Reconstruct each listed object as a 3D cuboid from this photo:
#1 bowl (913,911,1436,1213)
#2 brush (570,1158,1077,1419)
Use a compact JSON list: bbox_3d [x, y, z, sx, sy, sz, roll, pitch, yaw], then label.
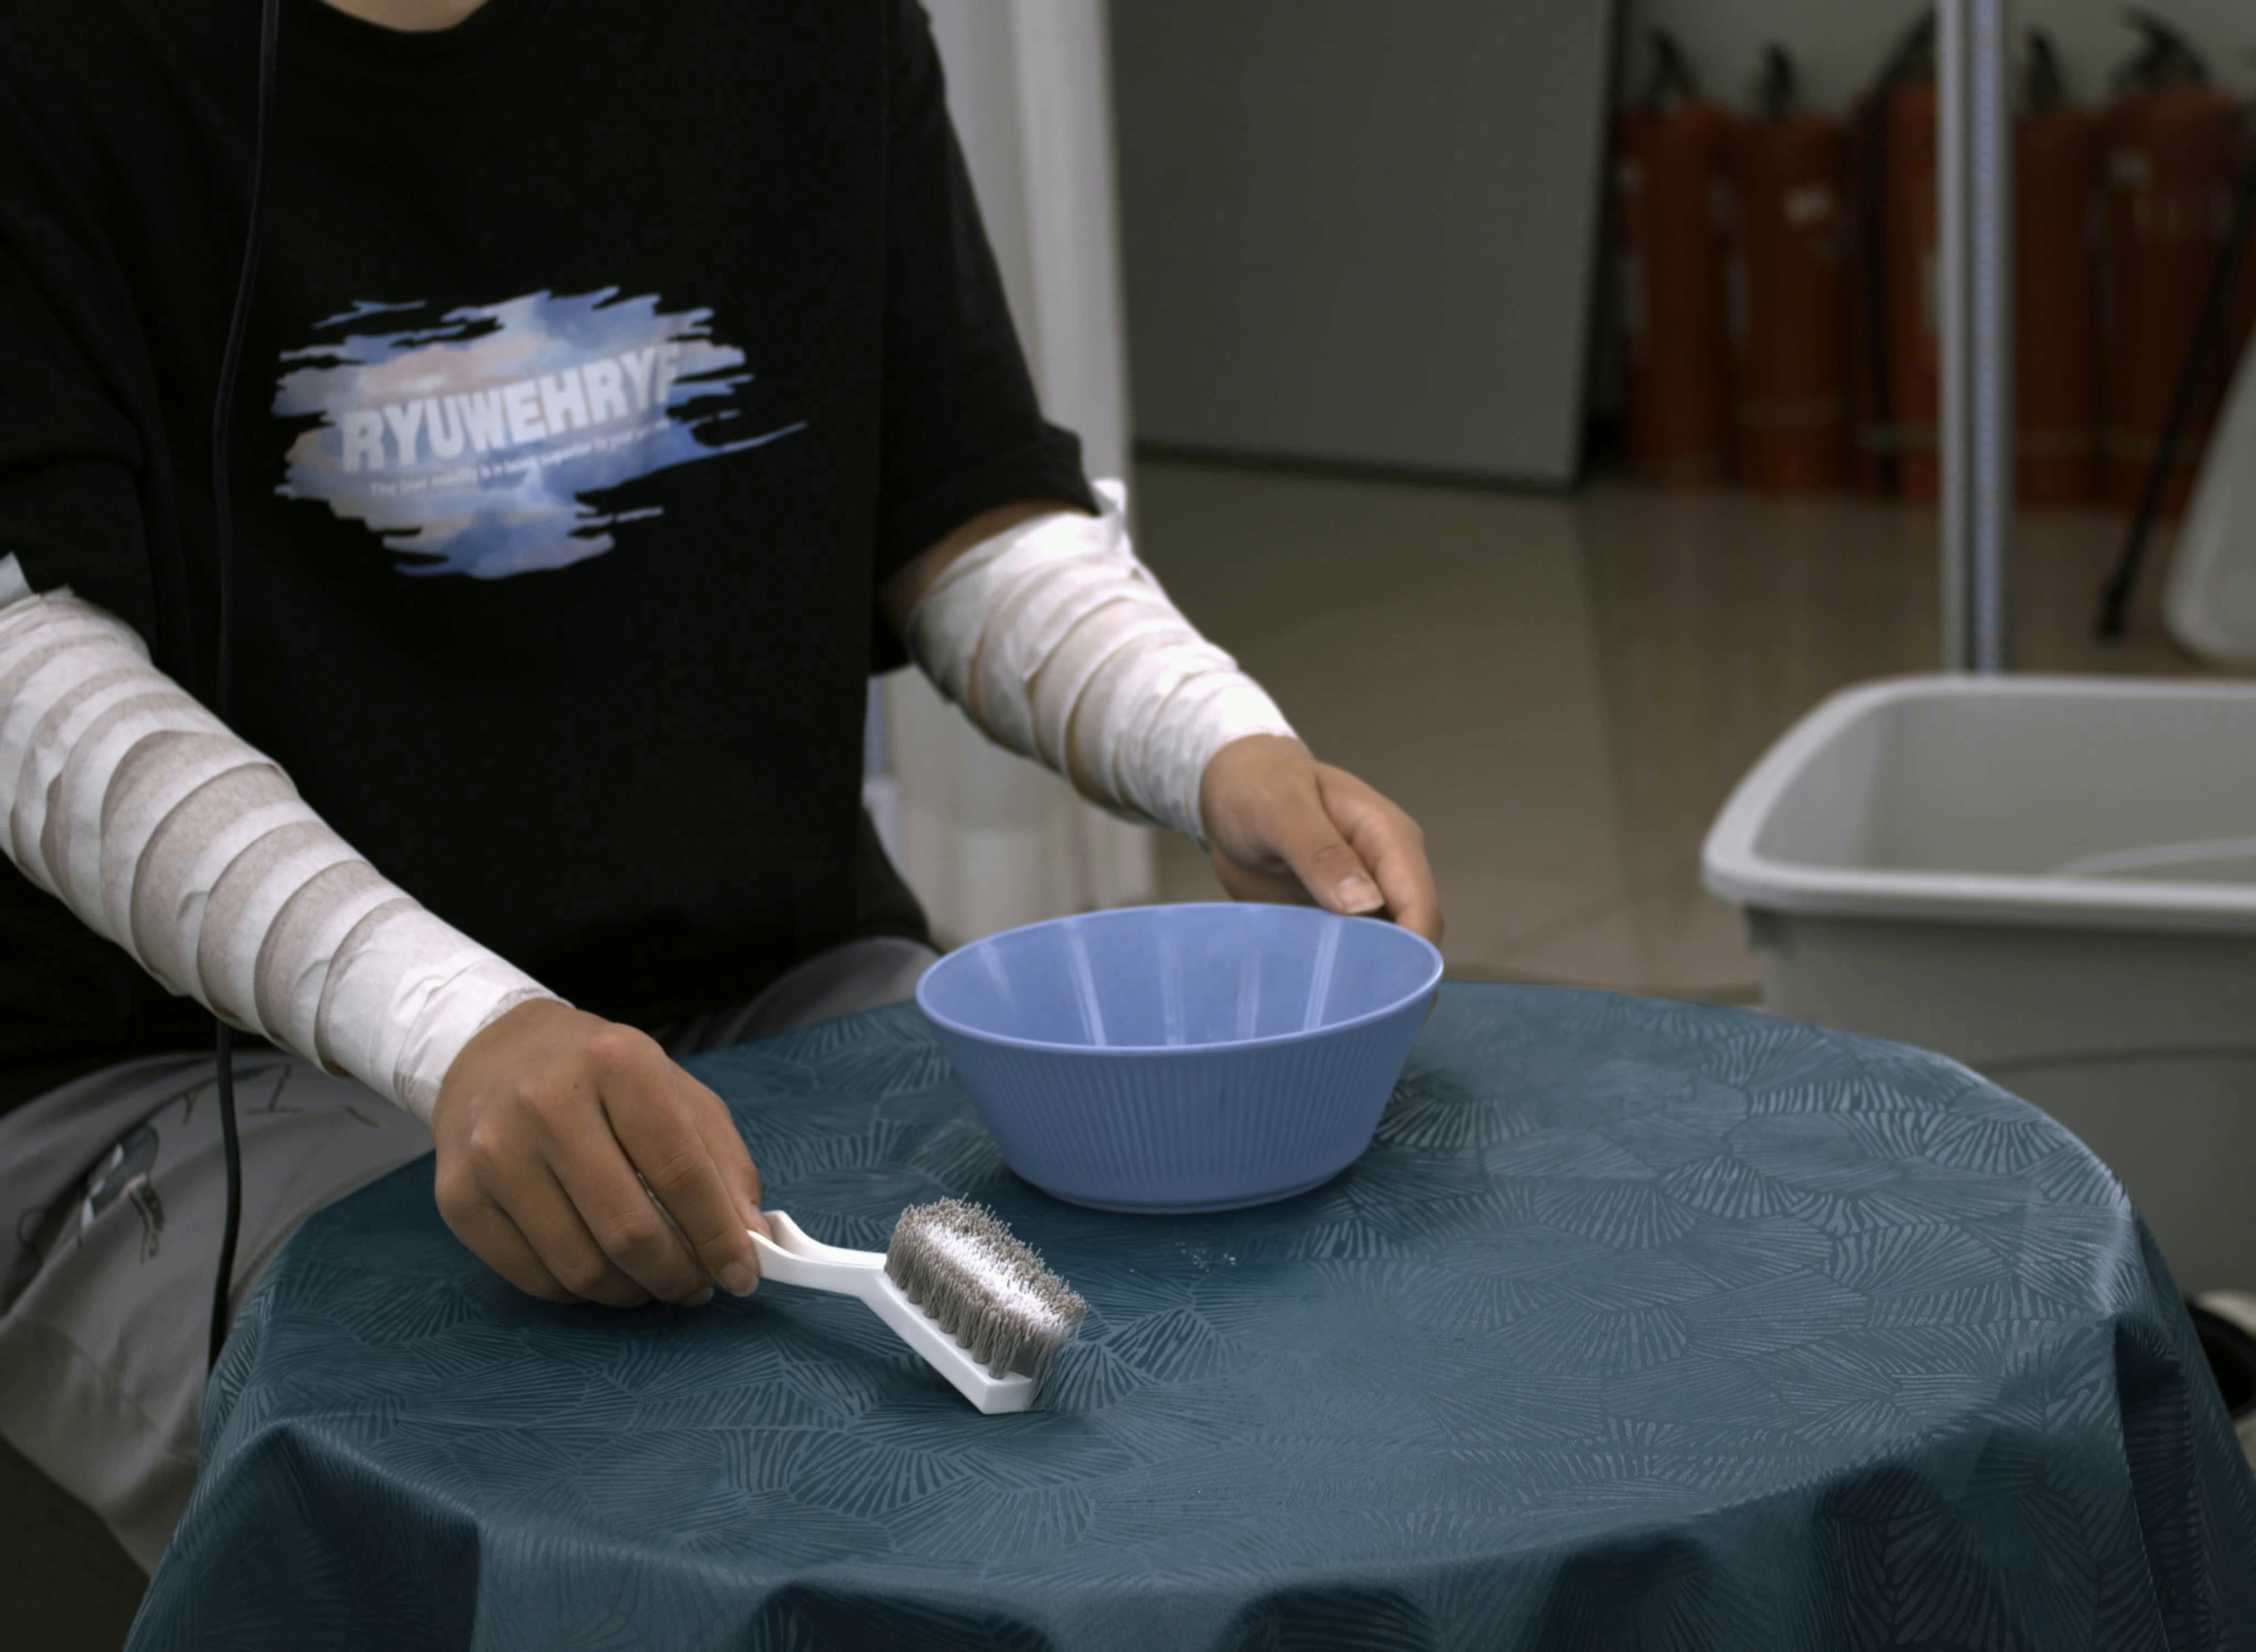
[{"bbox_3d":[0.017,0.080,1.787,0.174,0.071,0.176,-4,13,0],"label":"bowl"},{"bbox_3d":[-0.099,0.122,1.653,0.033,0.051,0.246,-14,22,-35],"label":"brush"}]
